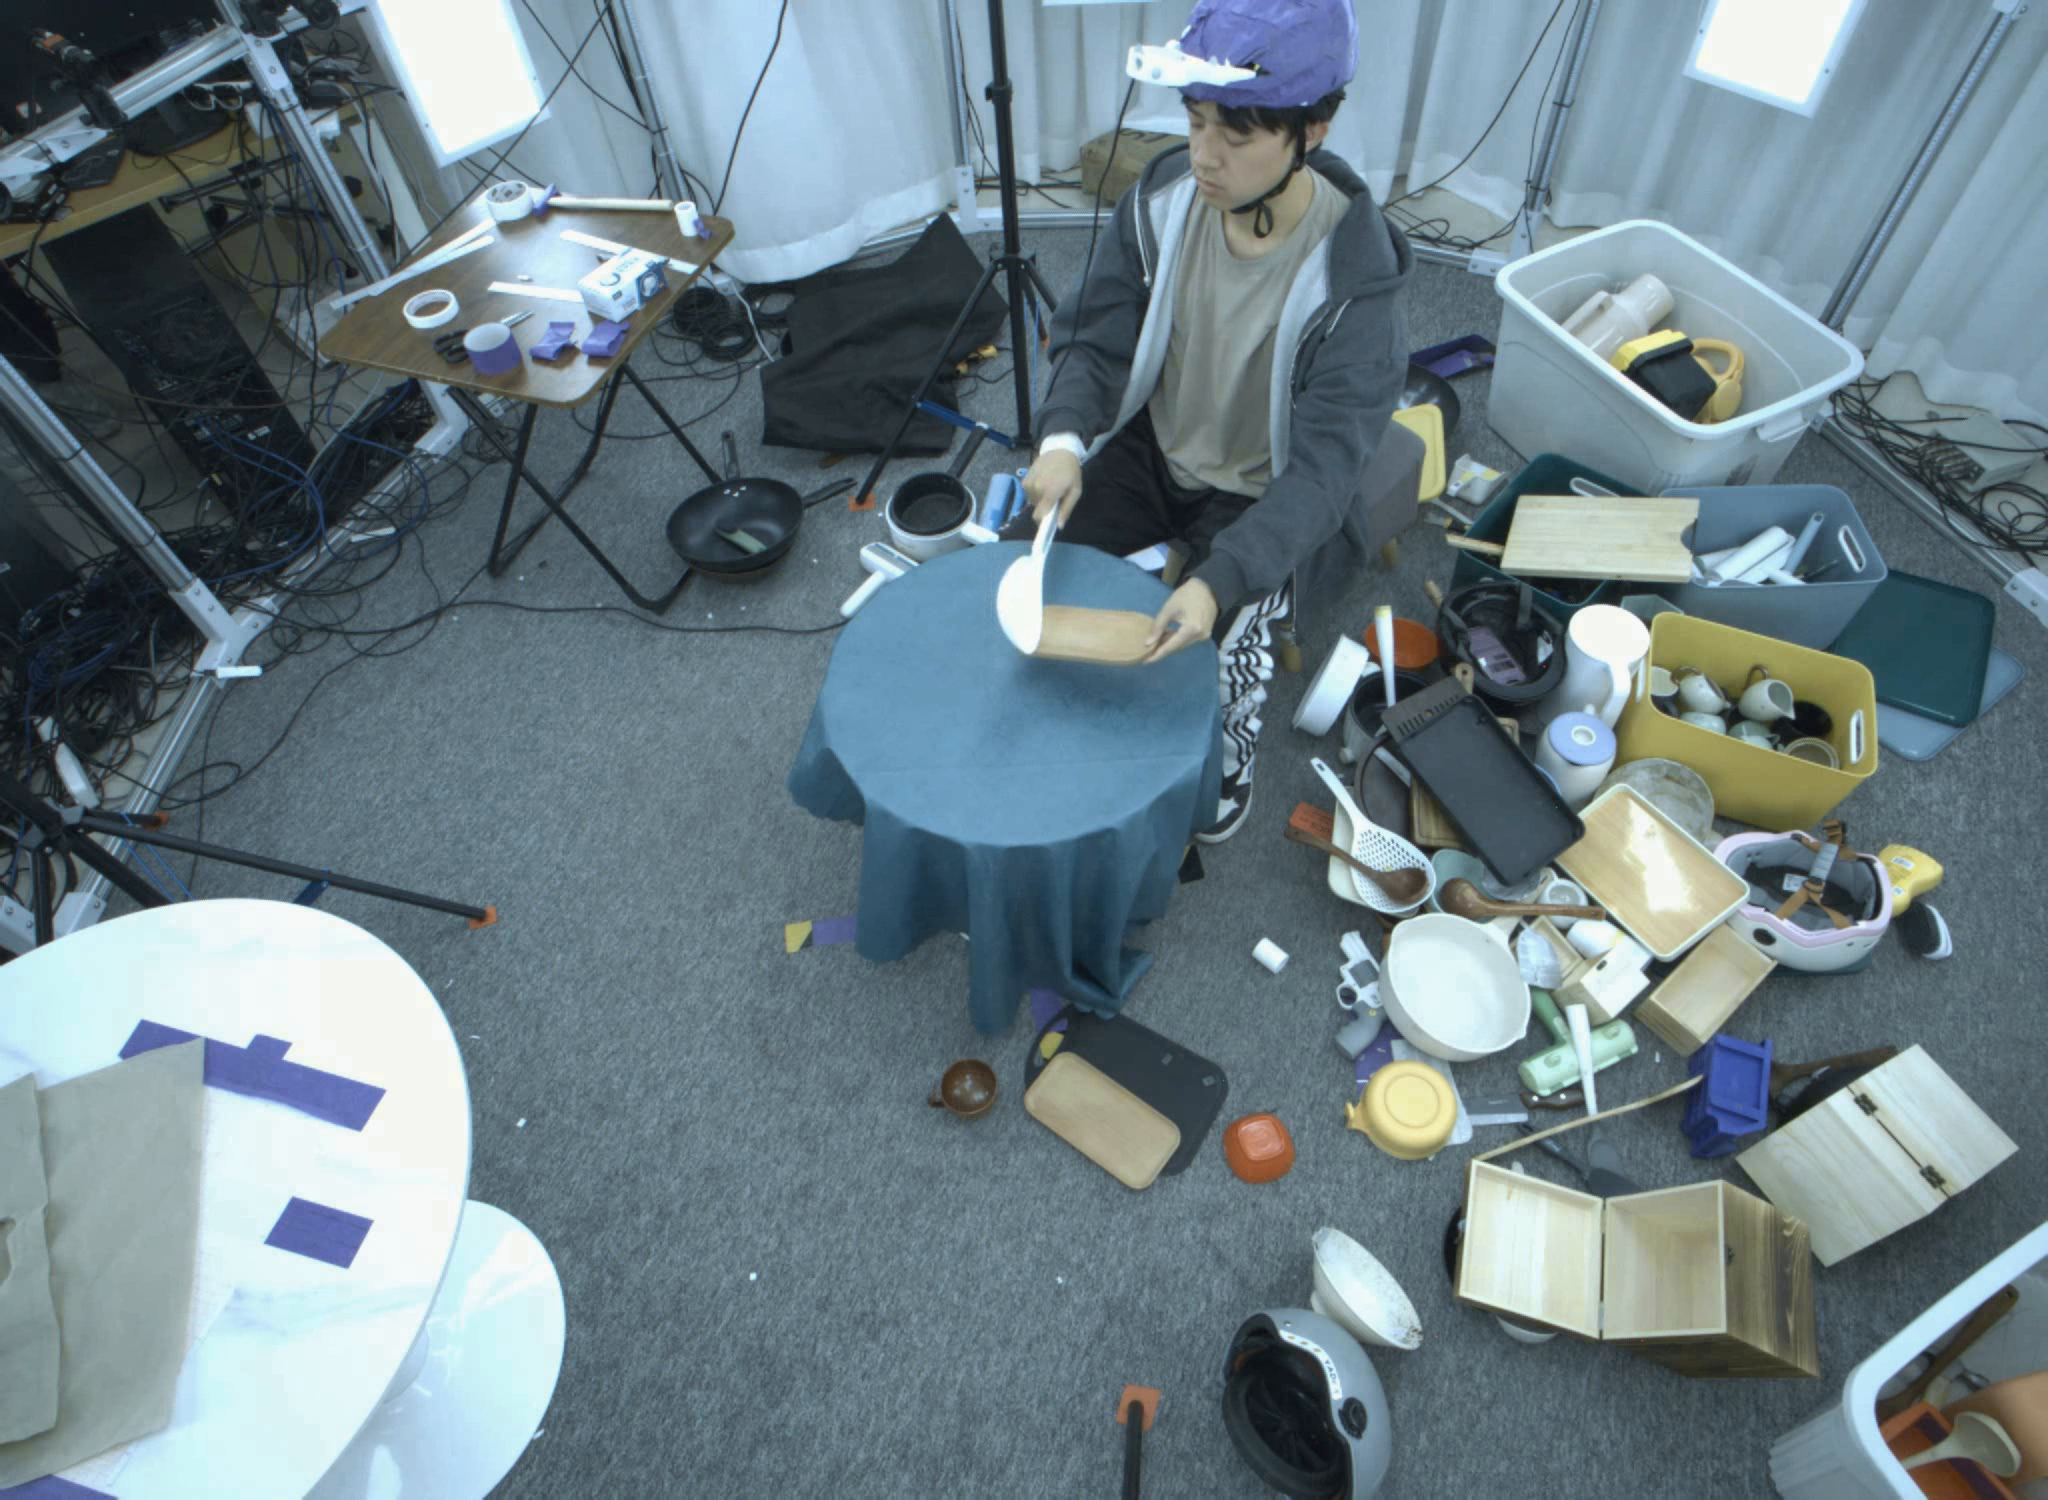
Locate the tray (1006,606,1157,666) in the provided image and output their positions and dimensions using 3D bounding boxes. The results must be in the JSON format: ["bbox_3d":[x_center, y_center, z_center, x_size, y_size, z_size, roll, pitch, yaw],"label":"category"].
[{"bbox_3d":[0.083,-0.167,1.806,0.228,0.020,0.101,6,50,22],"label":"tray"}]

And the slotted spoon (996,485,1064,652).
[{"bbox_3d":[0.017,-0.285,1.813,0.045,0.138,0.349,3,47,21],"label":"slotted spoon"}]
